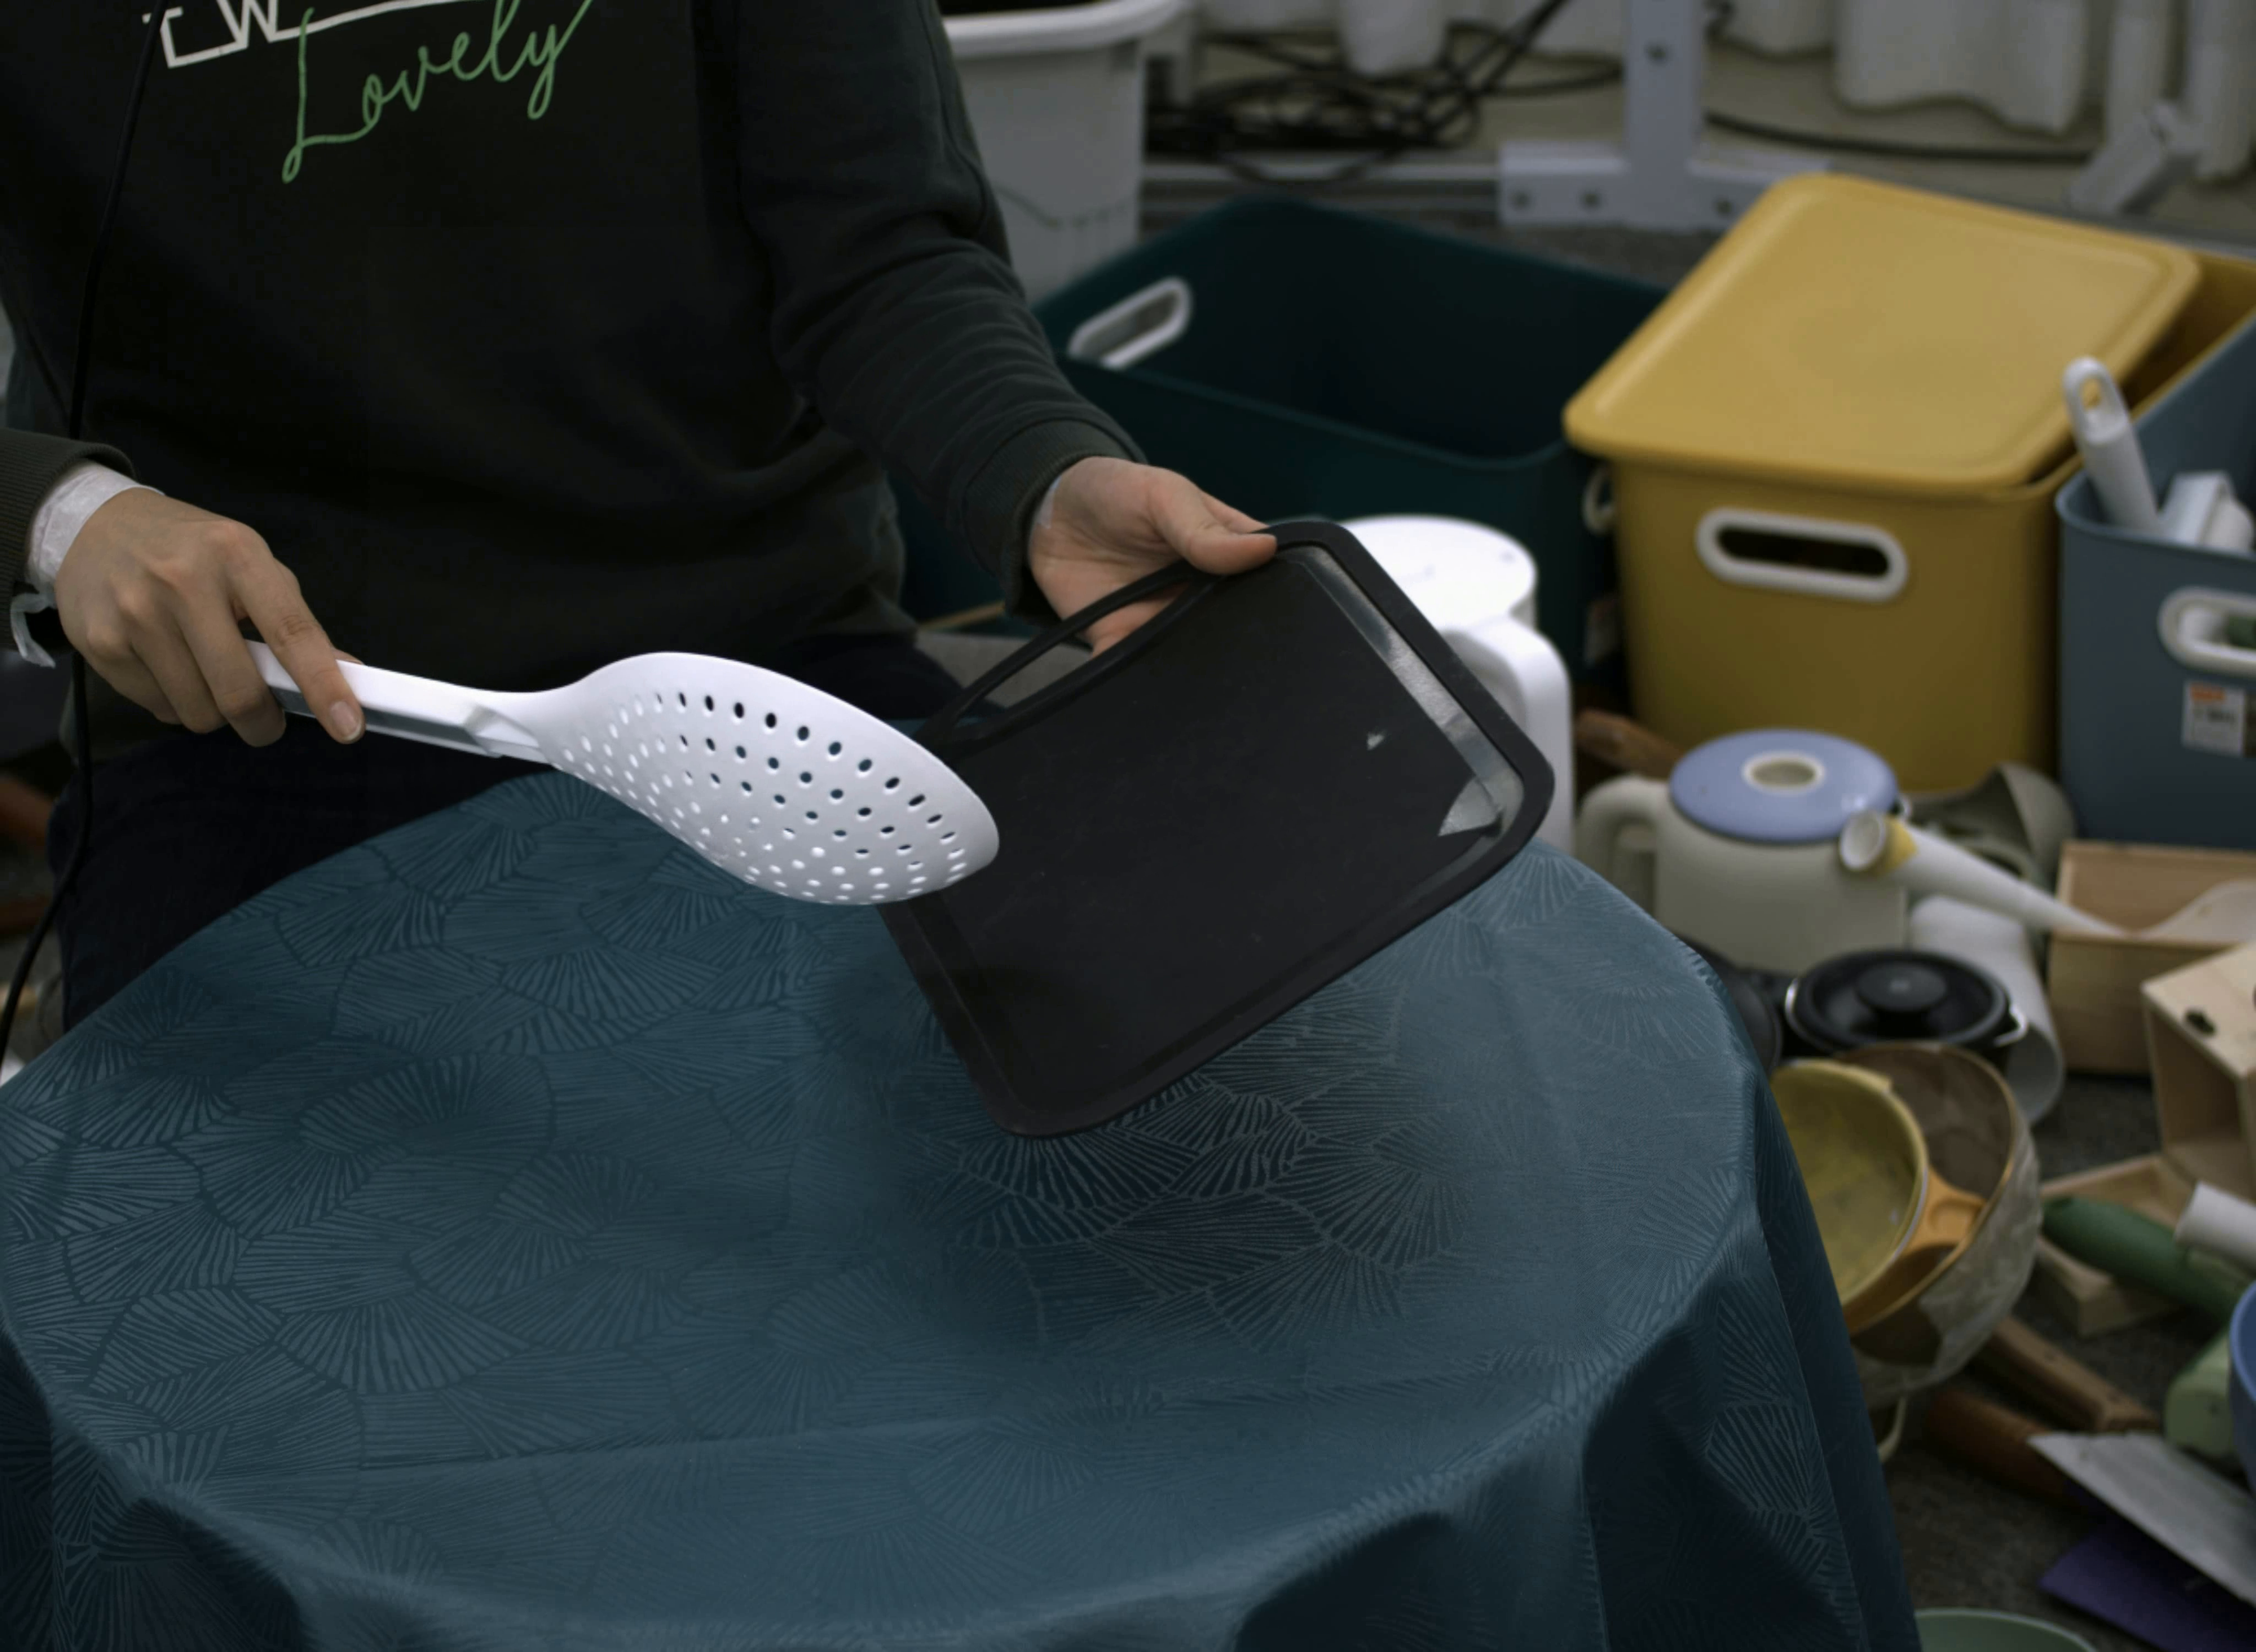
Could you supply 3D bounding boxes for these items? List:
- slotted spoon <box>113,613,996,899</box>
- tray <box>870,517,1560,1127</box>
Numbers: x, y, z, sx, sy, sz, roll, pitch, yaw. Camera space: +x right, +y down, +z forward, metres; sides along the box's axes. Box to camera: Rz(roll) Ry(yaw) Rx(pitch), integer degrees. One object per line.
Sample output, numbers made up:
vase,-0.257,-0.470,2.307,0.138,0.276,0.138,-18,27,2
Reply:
slotted spoon,-0.198,-0.034,1.856,0.348,0.134,0.046,16,66,32
tray,0.016,-0.011,1.876,0.211,0.010,0.328,-32,26,-1
